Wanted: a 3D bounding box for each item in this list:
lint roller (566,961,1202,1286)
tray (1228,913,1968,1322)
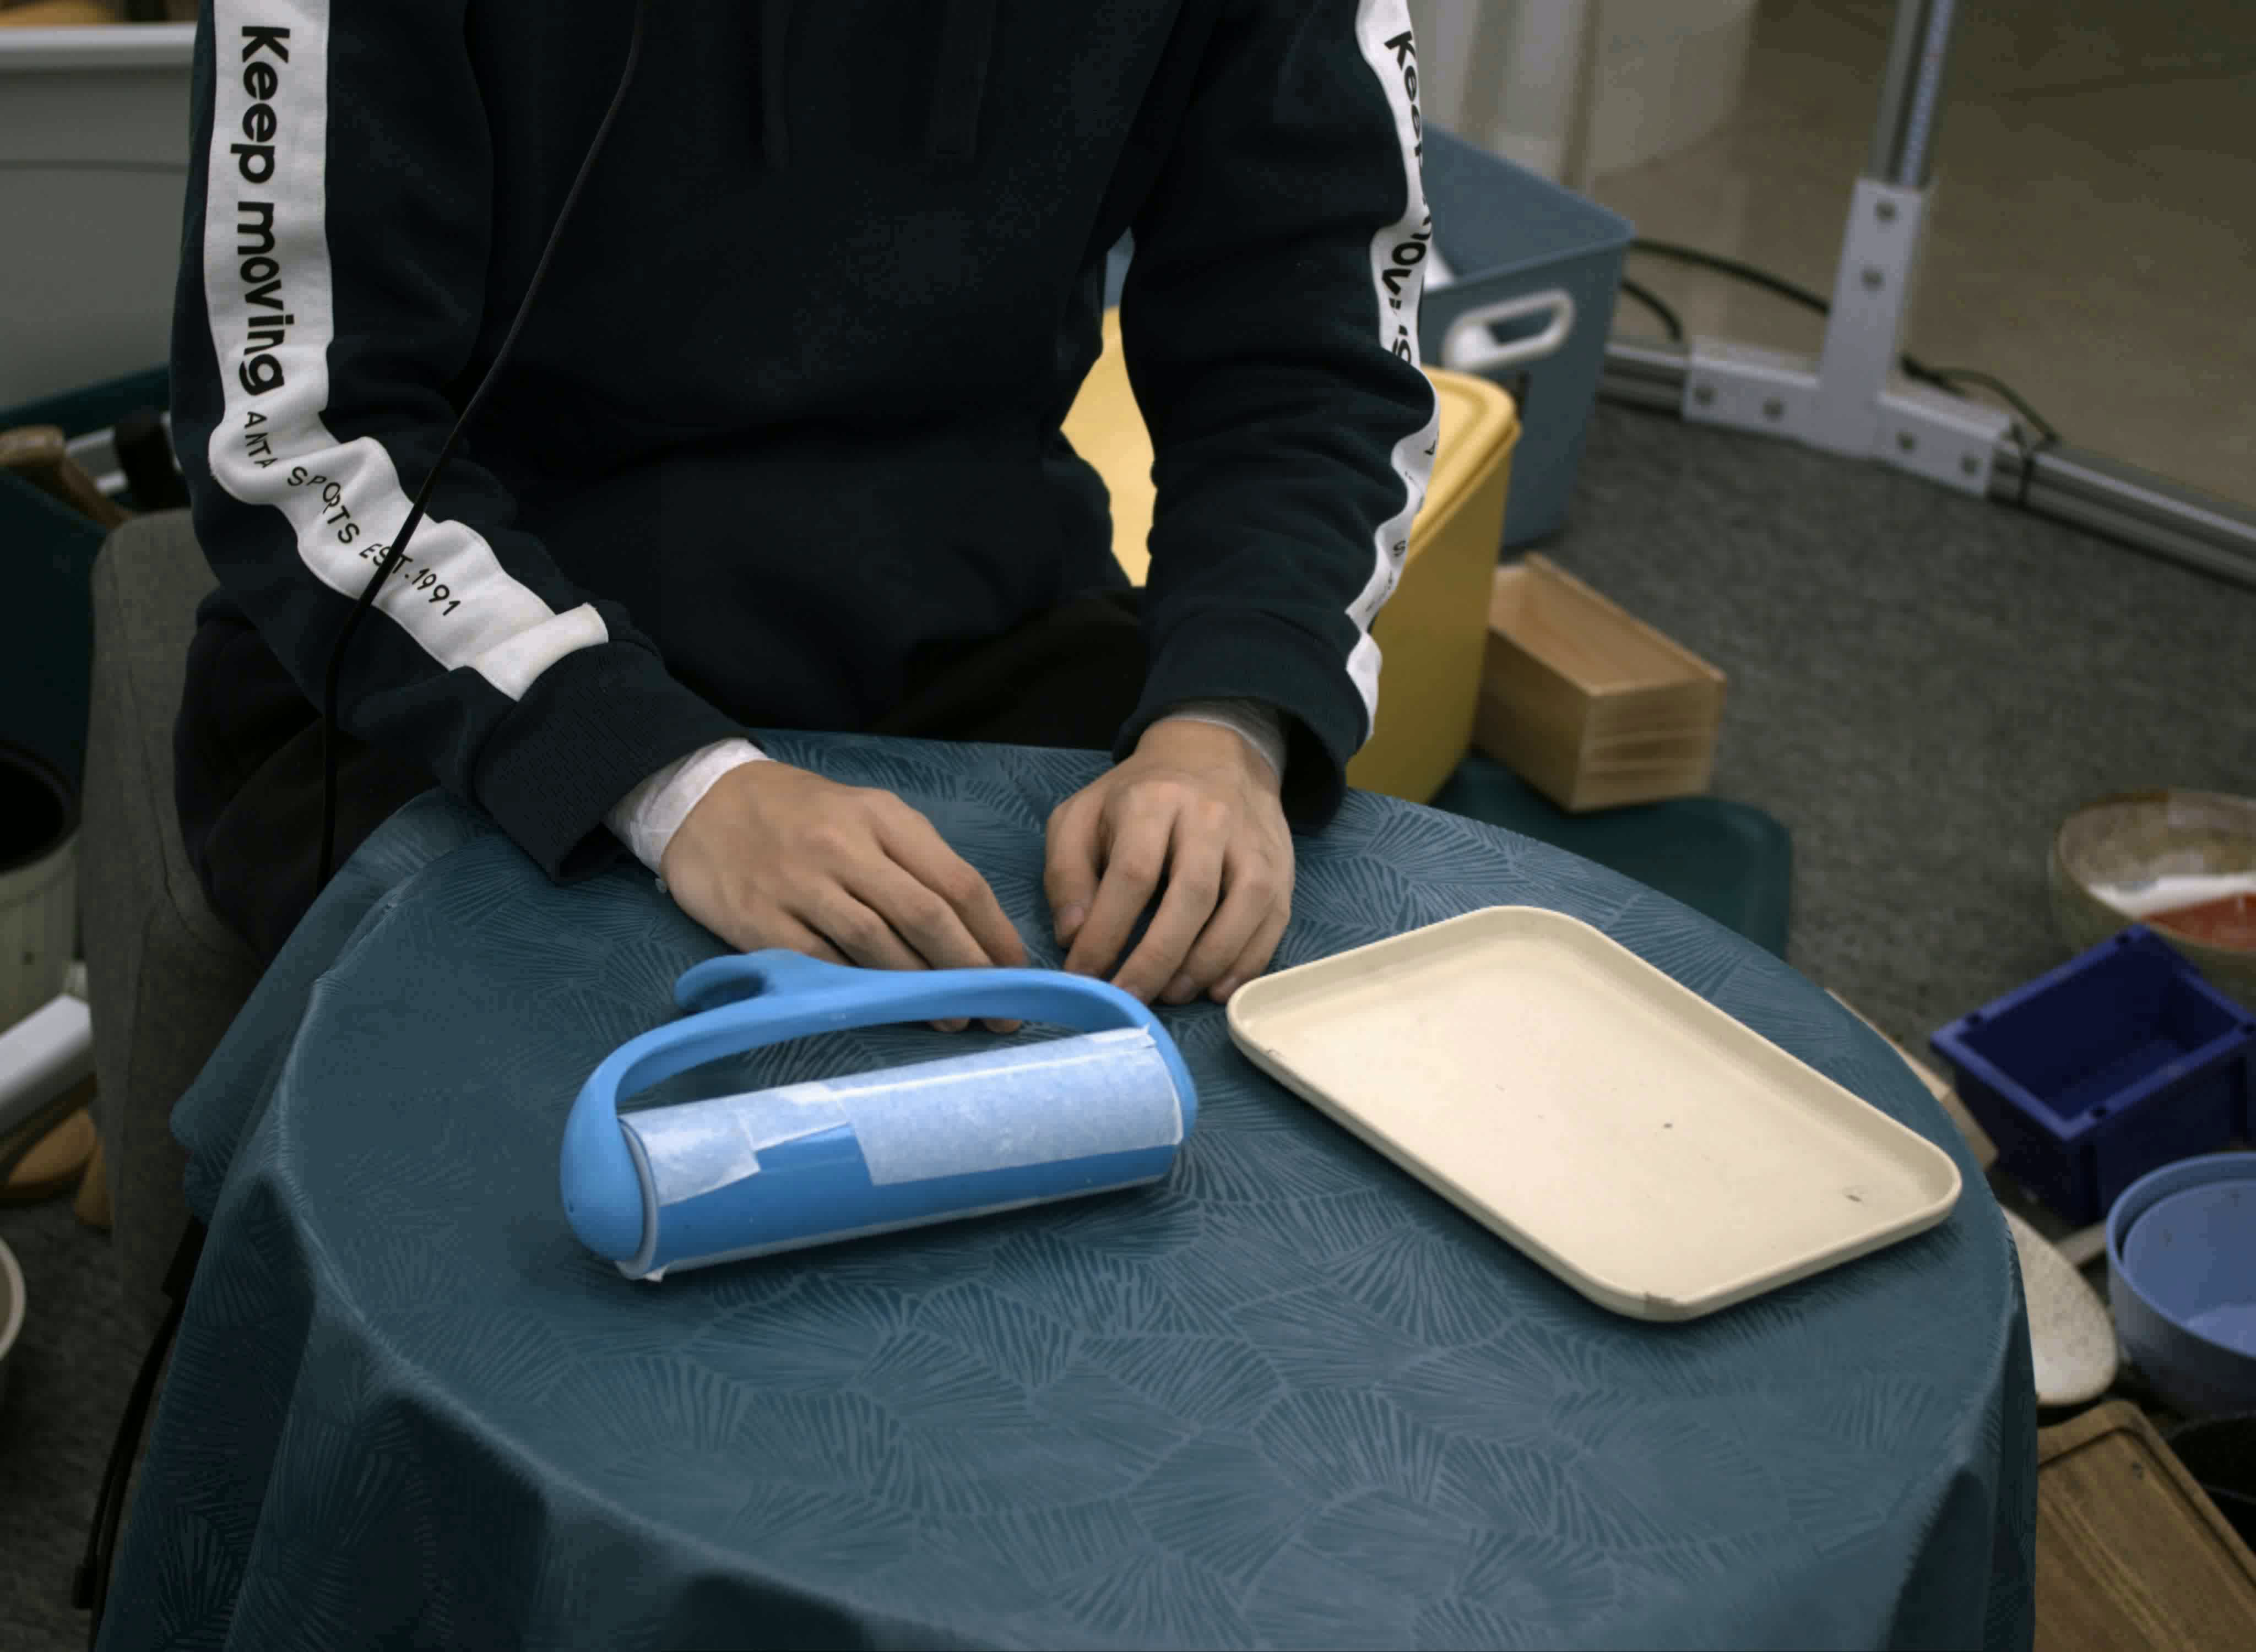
[{"bbox_3d":[-0.108,0.080,1.797,0.227,0.067,0.182,-11,33,-29],"label":"lint roller"},{"bbox_3d":[0.161,0.100,1.860,0.170,0.017,0.242,-14,33,-36],"label":"tray"}]
